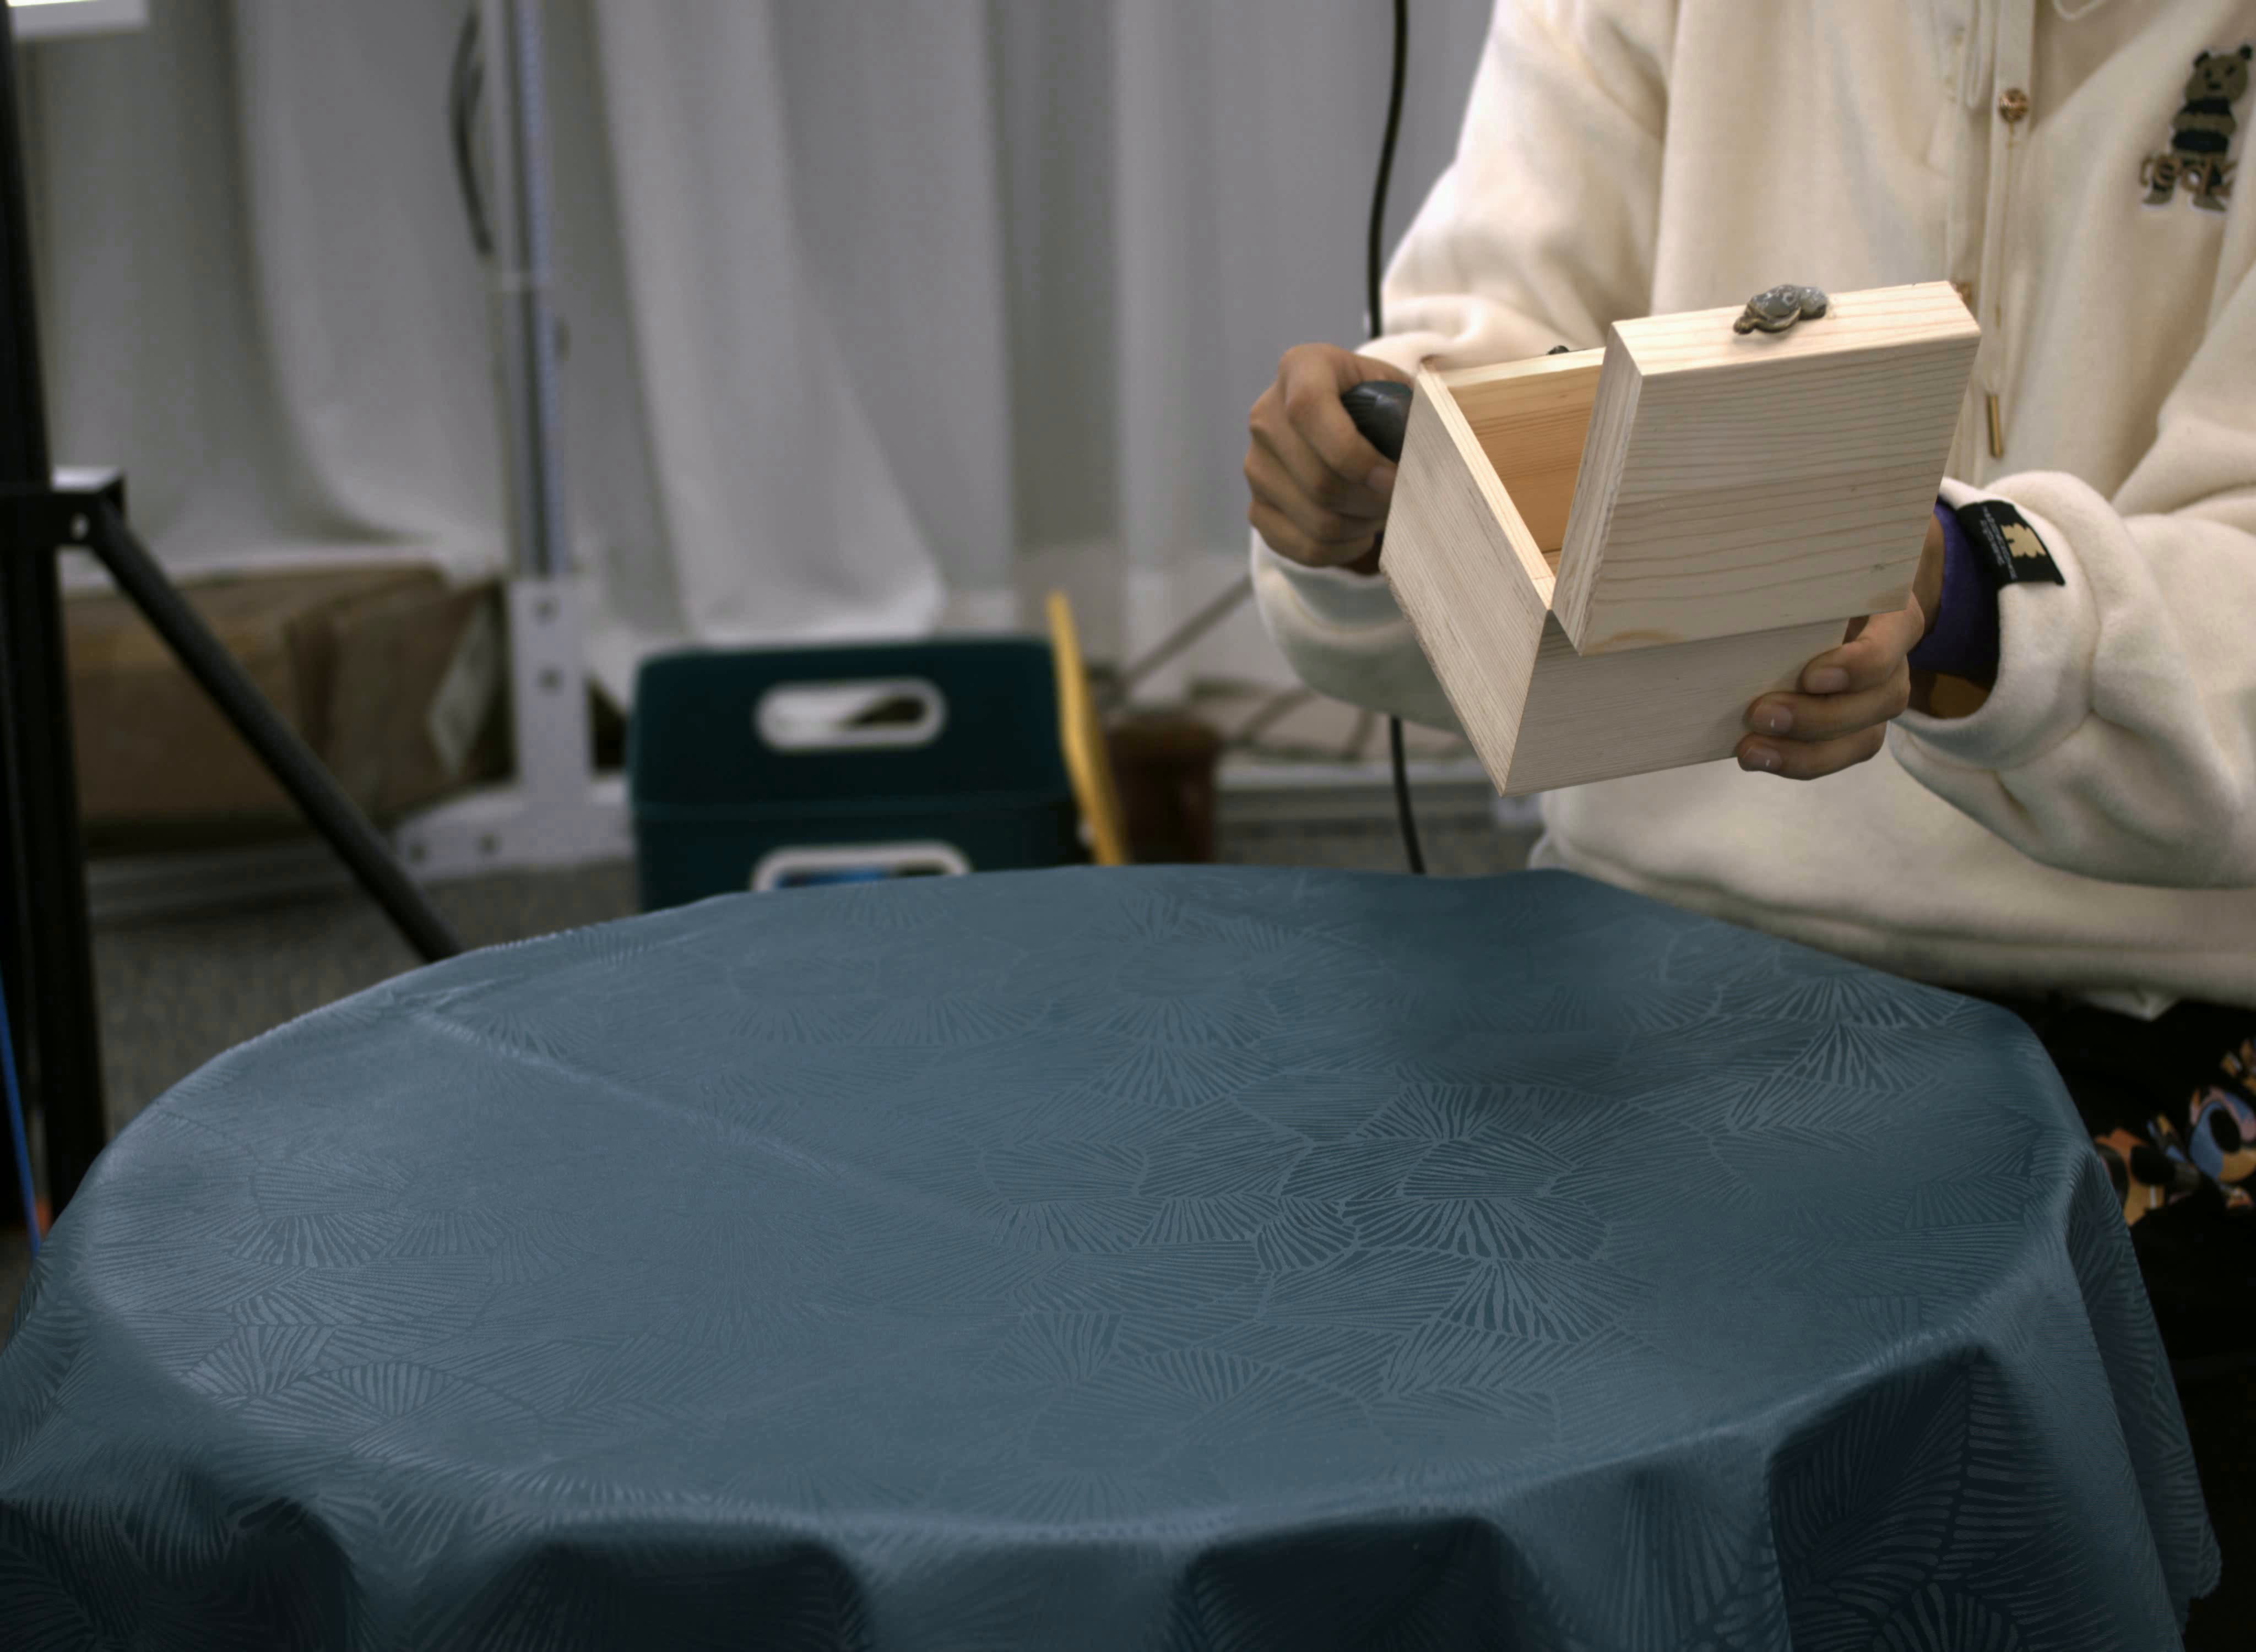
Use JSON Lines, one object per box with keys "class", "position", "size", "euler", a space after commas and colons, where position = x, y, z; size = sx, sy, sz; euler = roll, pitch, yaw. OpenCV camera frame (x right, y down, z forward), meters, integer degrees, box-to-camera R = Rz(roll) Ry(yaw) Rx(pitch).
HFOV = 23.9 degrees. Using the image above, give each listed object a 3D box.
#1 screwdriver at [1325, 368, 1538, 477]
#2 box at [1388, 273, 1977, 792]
{"class": "screwdriver", "position": [0.095, -0.126, 1.661], "size": [0.031, 0.031, 0.199], "euler": [-5, 2, -11]}
{"class": "box", "position": [0.152, -0.108, 1.509], "size": [0.101, 0.184, 0.136], "euler": [-9, 48, -16]}
